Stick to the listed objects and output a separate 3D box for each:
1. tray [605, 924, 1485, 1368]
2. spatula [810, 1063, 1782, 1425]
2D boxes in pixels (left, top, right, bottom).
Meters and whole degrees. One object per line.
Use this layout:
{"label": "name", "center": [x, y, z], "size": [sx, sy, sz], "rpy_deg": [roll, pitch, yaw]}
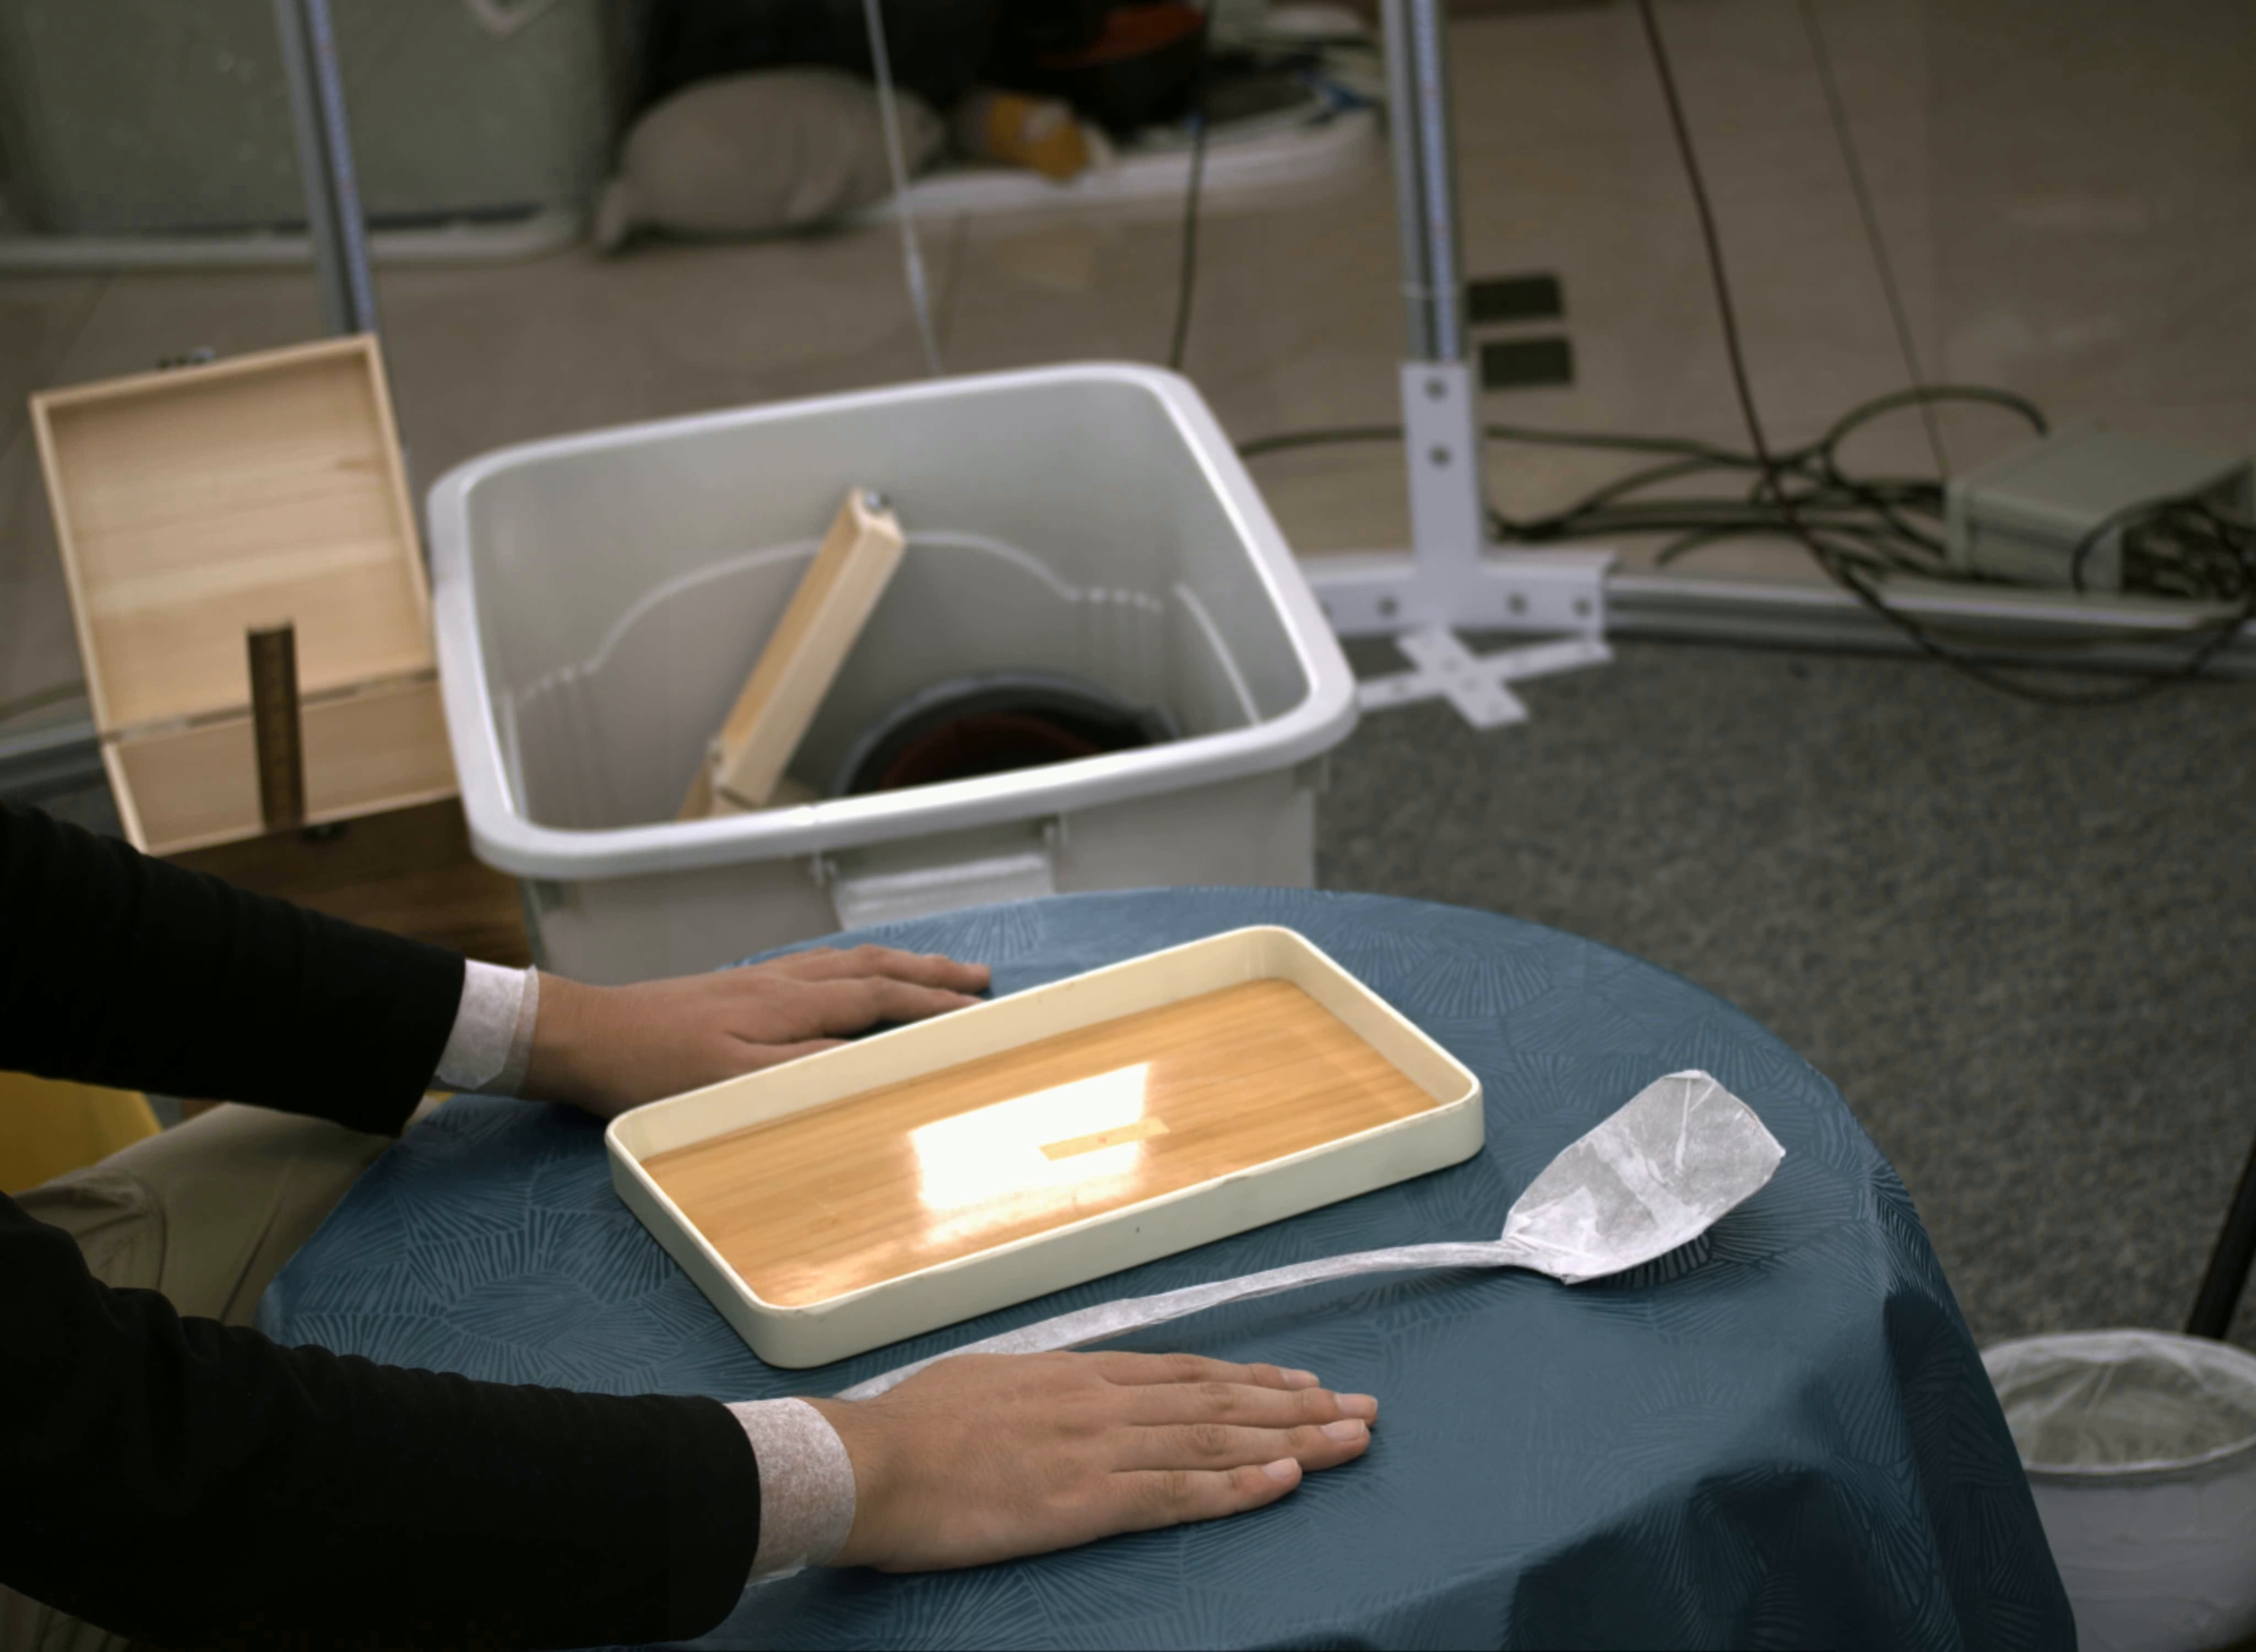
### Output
{"label": "tray", "center": [-0.033, 0.118, 2.168], "size": [0.299, 0.028, 0.189], "rpy_deg": [-16, 27, -19]}
{"label": "spatula", "center": [0.060, 0.158, 2.046], "size": [0.364, 0.045, 0.097], "rpy_deg": [-12, 26, -13]}
